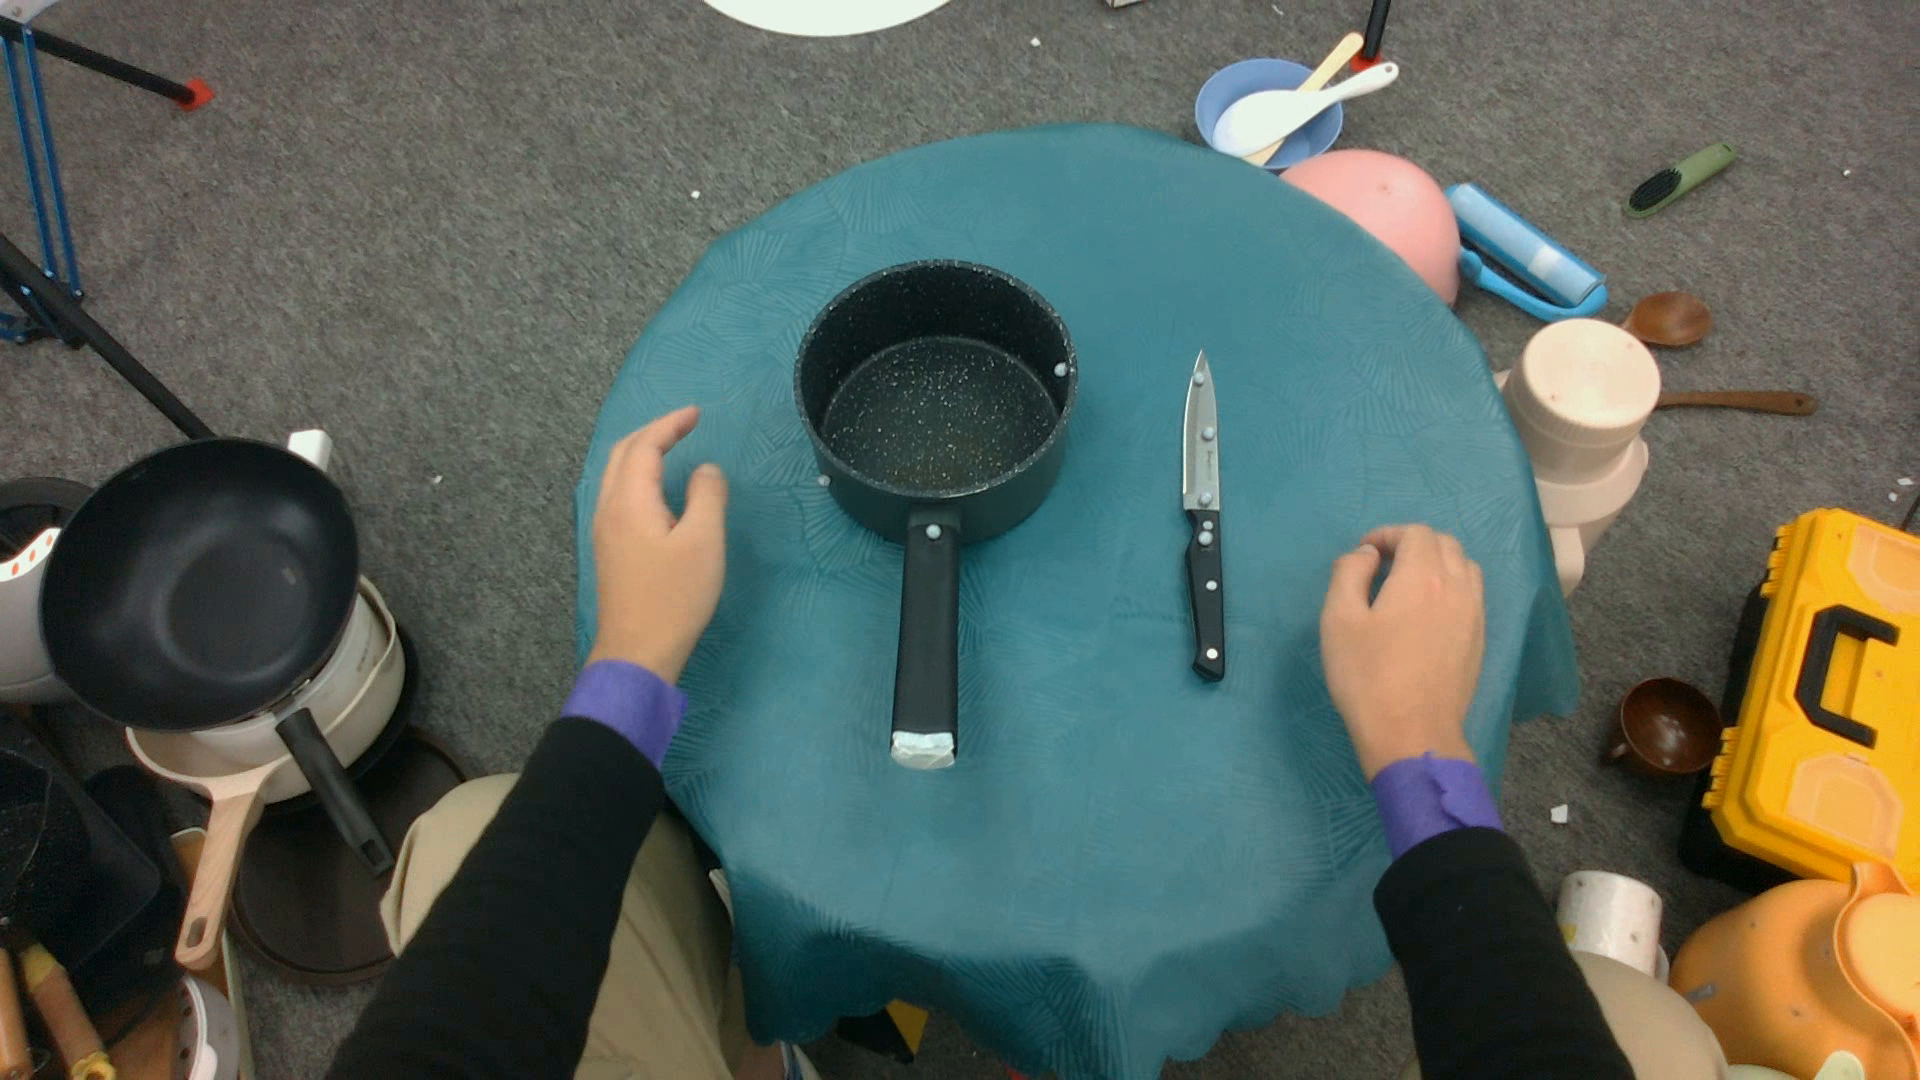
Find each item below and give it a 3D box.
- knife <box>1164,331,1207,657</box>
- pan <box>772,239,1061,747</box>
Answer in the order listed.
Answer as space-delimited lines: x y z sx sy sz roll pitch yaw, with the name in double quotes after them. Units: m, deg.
0.140 -0.037 0.854 0.024 0.016 0.239 0 59 6 "knife"
-0.029 -0.026 0.811 0.172 0.086 0.330 2 61 3 "pan"
